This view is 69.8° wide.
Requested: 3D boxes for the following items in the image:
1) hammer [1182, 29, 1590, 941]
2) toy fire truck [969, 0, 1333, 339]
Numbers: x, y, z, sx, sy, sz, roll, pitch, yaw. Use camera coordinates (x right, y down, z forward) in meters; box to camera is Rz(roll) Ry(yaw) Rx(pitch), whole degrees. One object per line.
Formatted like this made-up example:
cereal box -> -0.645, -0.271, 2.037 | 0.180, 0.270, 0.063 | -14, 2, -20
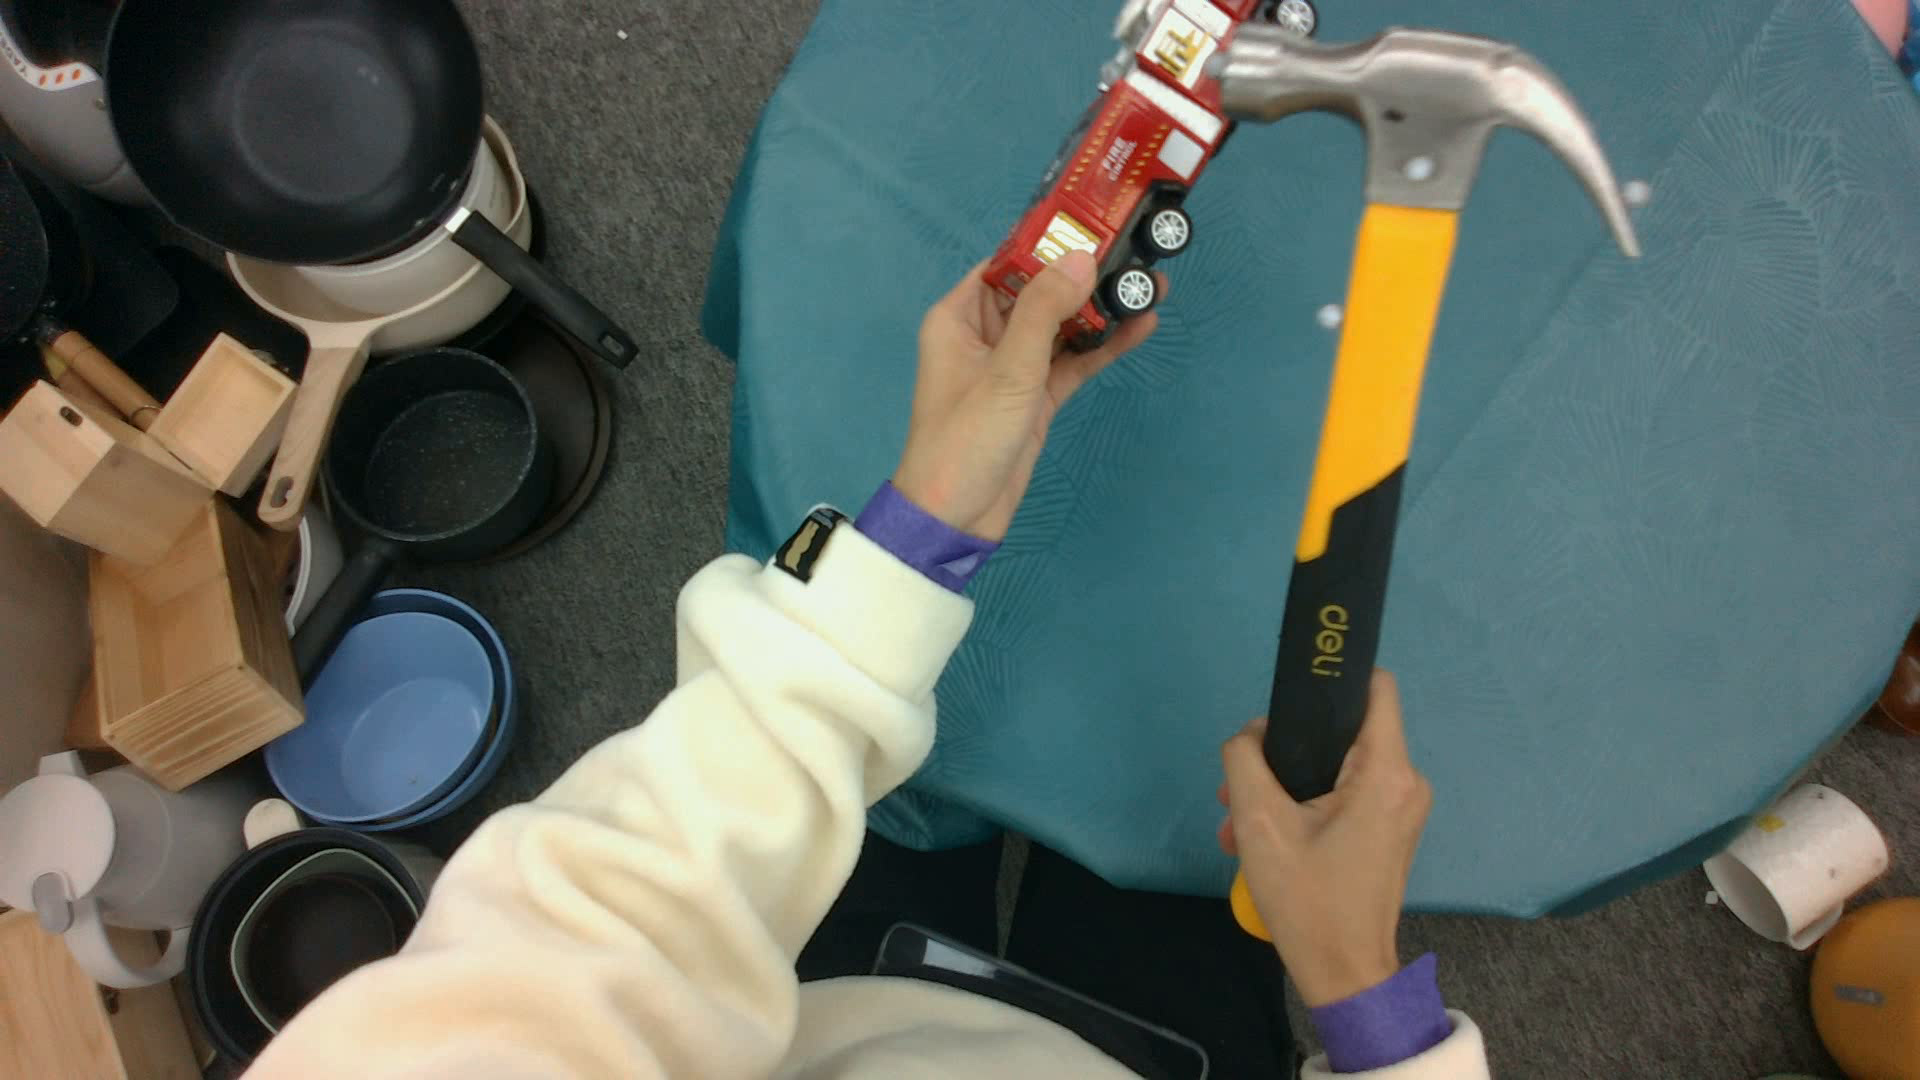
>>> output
hammer -> 0.130, -0.001, 0.493 | 0.131, 0.032, 0.337 | 9, 112, 15
toy fire truck -> 0.070, -0.154, 0.508 | 0.070, 0.054, 0.168 | 33, 83, -11
